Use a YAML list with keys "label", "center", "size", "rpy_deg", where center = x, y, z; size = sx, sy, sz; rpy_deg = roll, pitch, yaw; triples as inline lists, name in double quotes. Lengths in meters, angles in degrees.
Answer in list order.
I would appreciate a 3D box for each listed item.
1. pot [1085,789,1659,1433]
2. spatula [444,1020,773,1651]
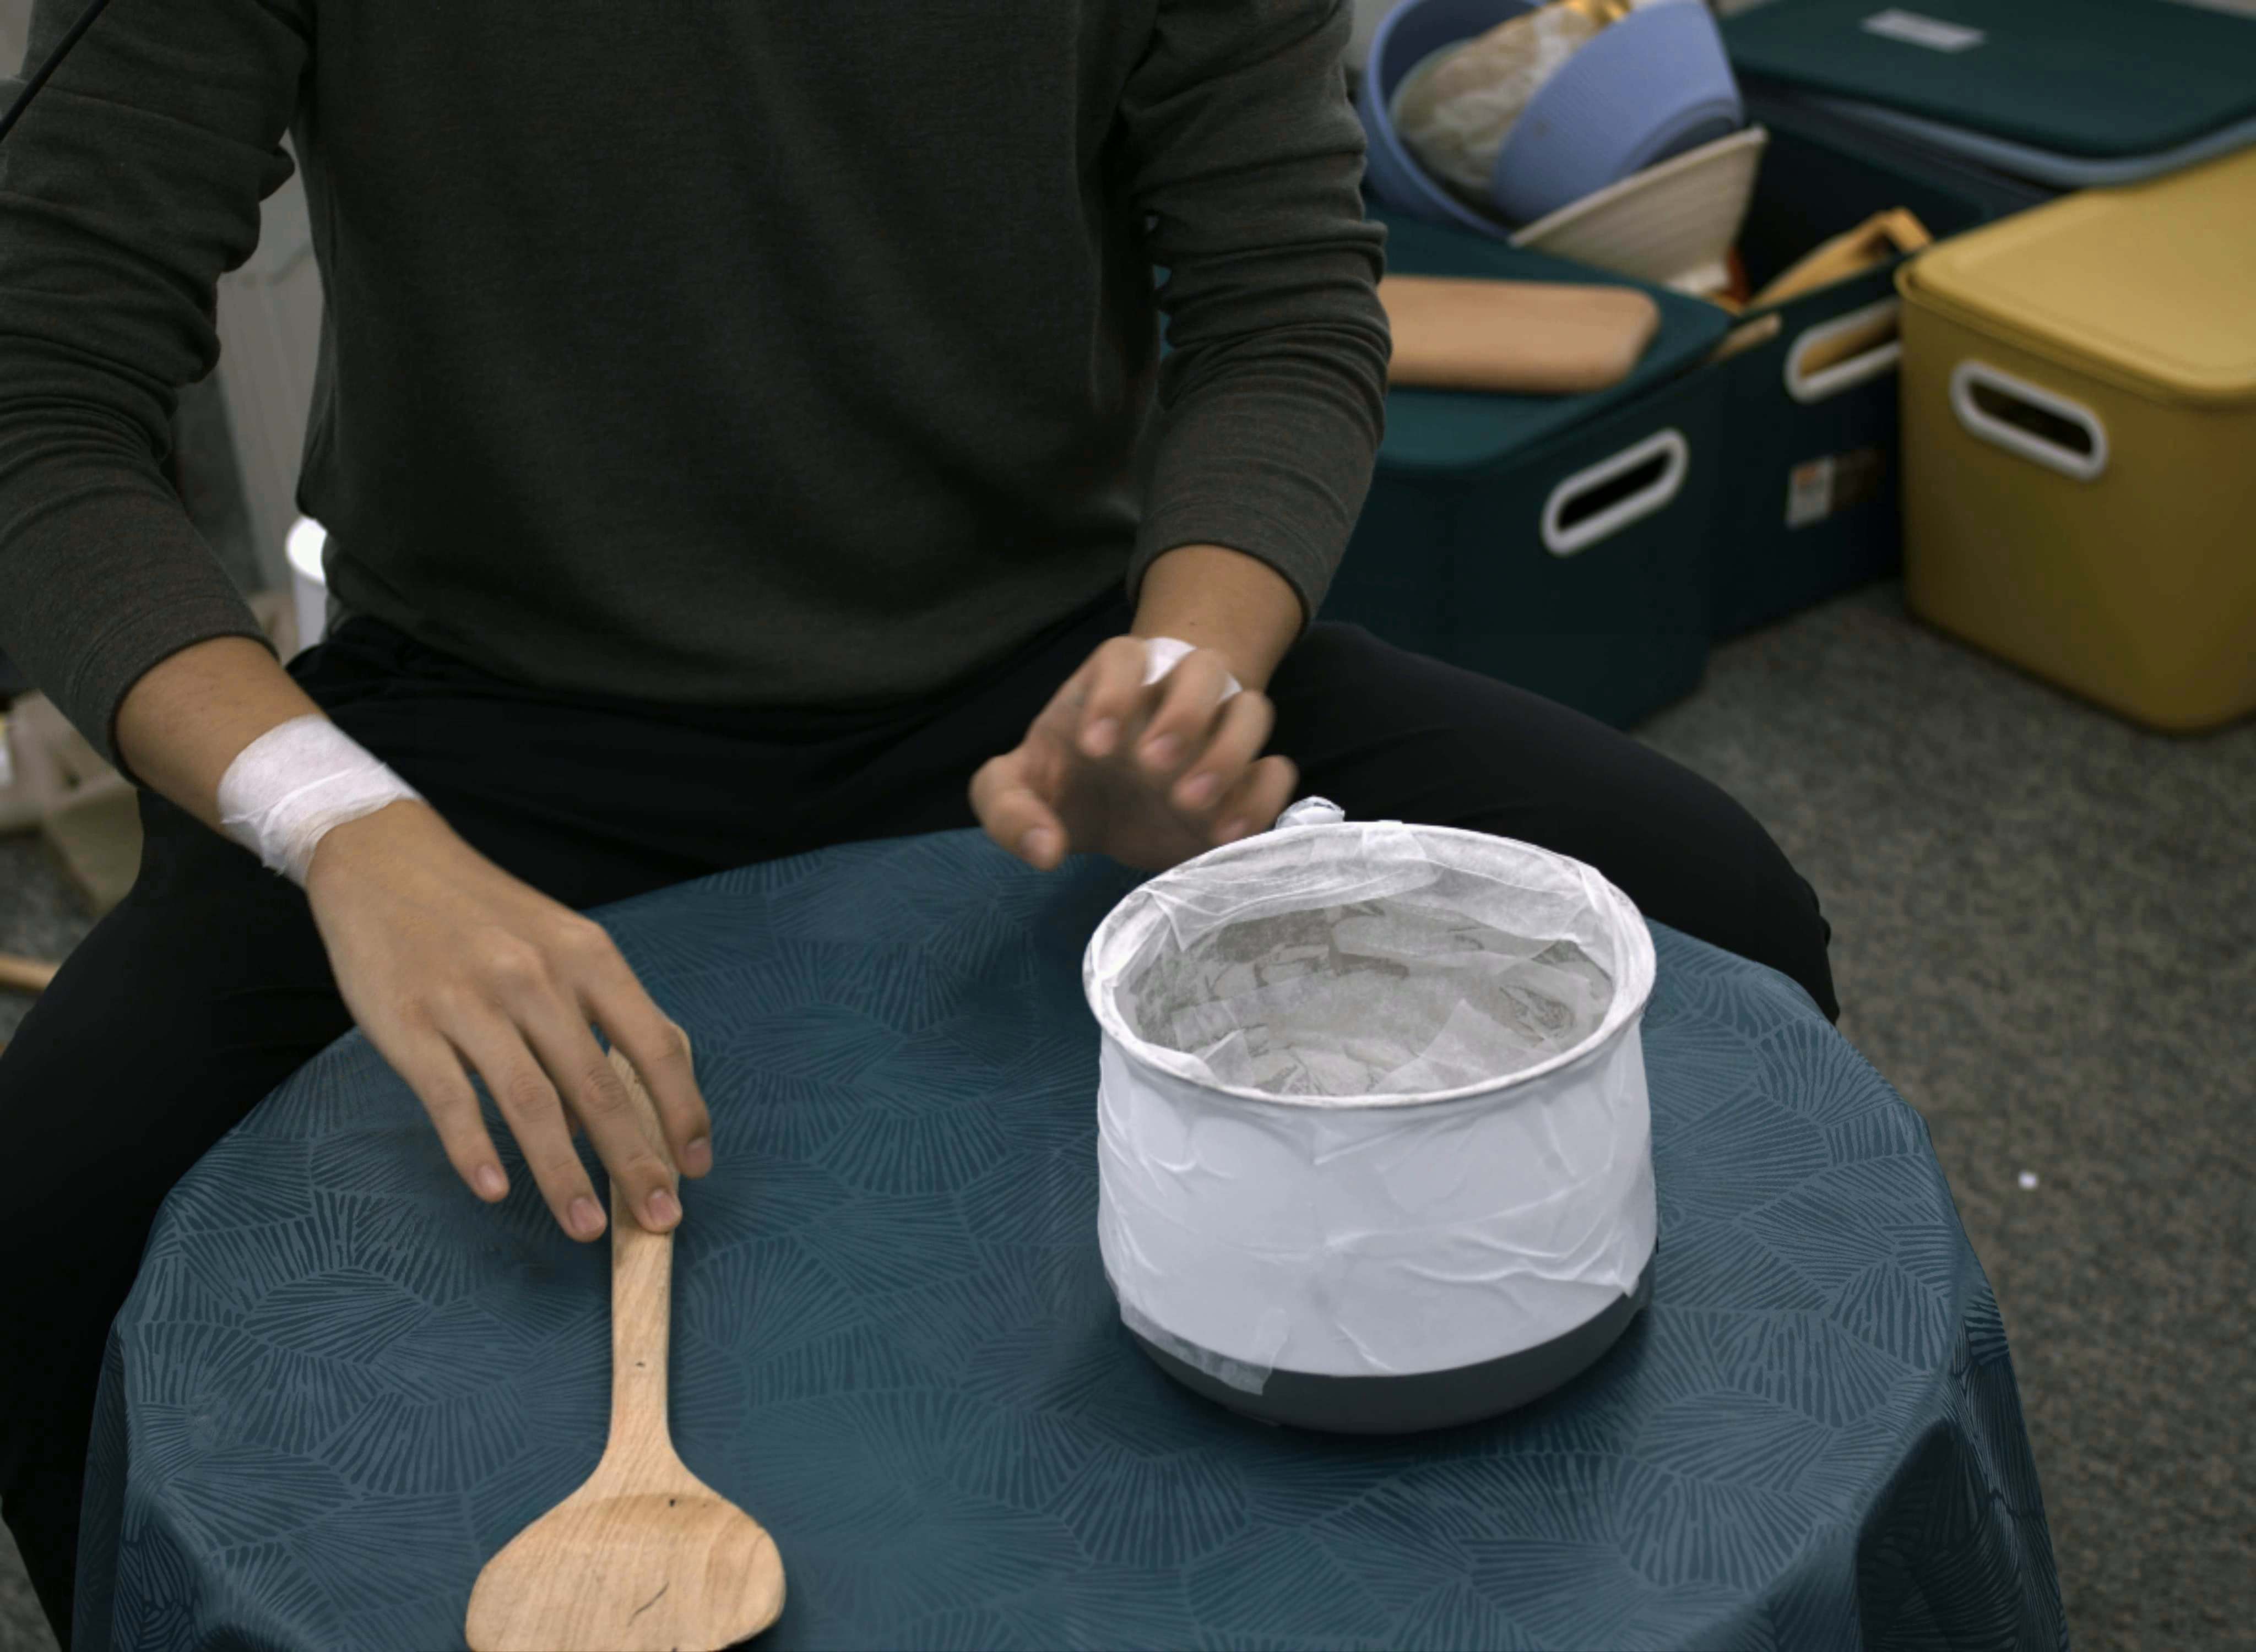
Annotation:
- label: "pot"
  center: [0.073, 0.082, 1.782]
  size: [0.178, 0.135, 0.236]
  rpy_deg: [-6, 27, -7]
- label: "spatula"
  center: [-0.162, 0.157, 1.789]
  size: [0.095, 0.018, 0.396]
  rpy_deg: [-2, 27, -3]
